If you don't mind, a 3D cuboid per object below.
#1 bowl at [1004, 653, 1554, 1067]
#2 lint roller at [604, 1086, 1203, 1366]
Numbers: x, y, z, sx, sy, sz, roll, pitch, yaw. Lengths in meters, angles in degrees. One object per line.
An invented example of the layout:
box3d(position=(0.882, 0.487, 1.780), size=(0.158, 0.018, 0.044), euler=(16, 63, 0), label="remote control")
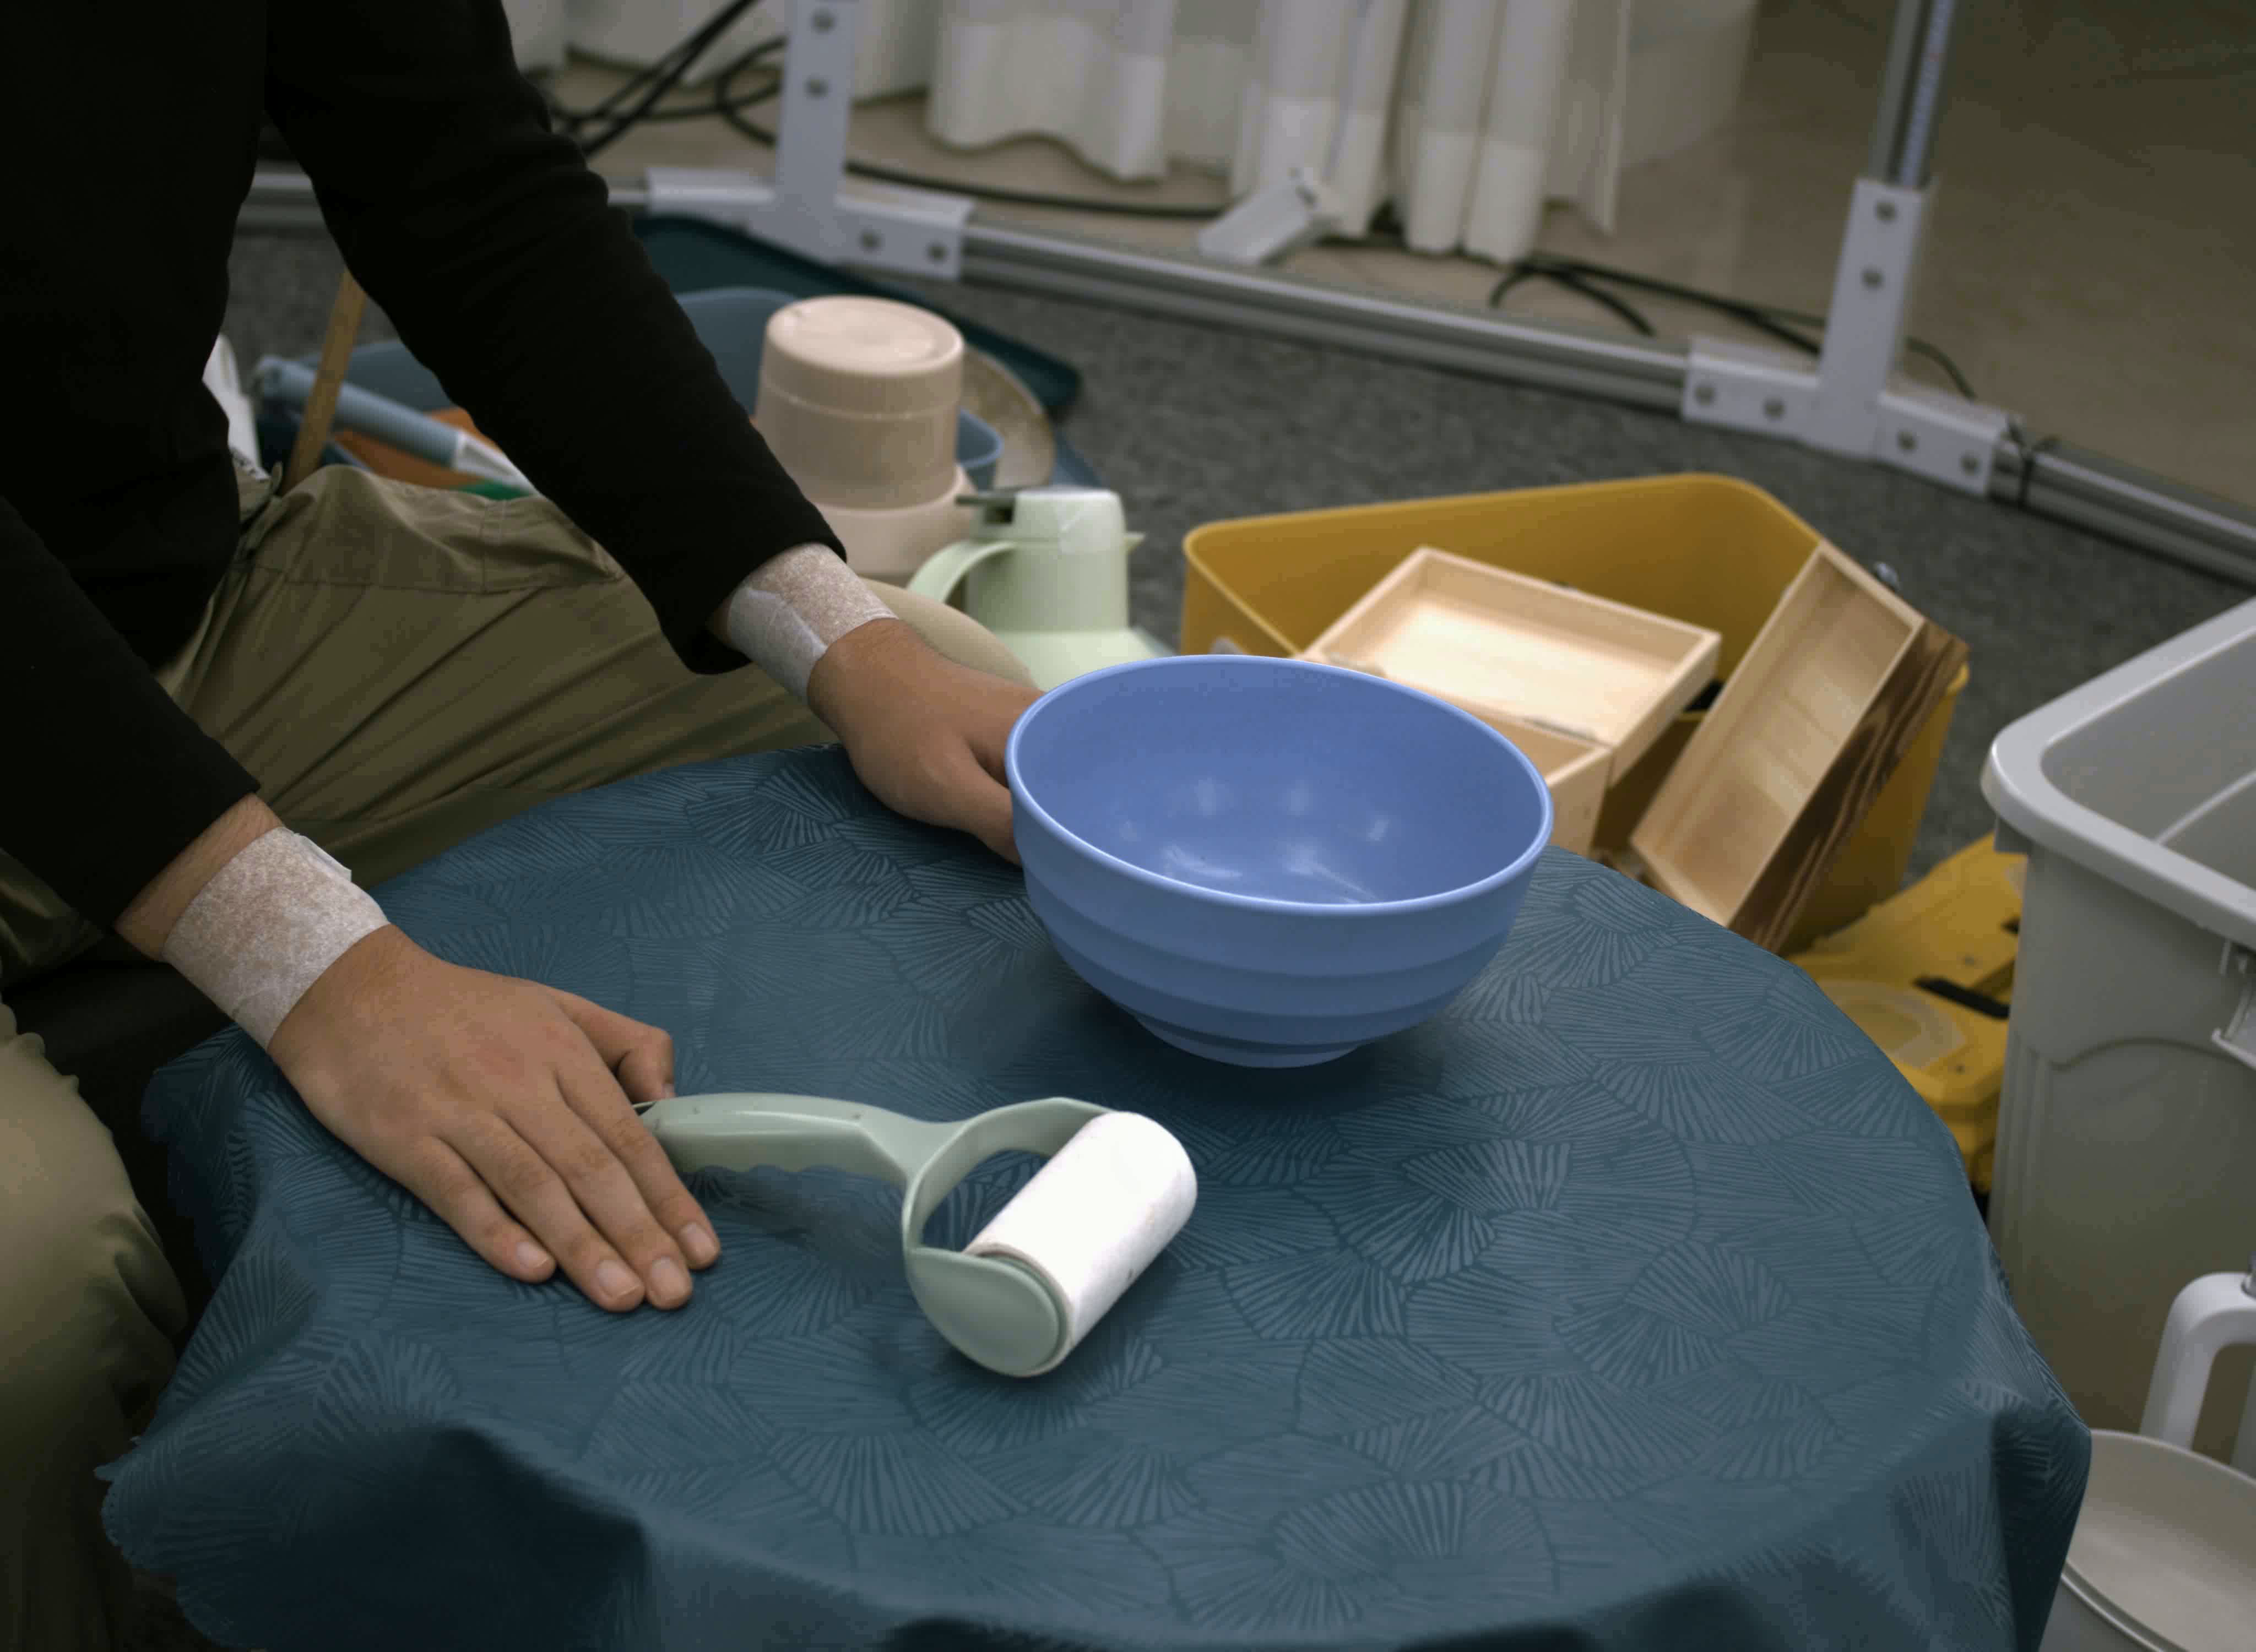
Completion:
box3d(position=(0.049, 0.023, 1.905), size=(0.196, 0.095, 0.198), euler=(4, 28, -3), label="bowl")
box3d(position=(-0.082, 0.113, 1.754), size=(0.198, 0.048, 0.116), euler=(16, 30, 19), label="lint roller")
